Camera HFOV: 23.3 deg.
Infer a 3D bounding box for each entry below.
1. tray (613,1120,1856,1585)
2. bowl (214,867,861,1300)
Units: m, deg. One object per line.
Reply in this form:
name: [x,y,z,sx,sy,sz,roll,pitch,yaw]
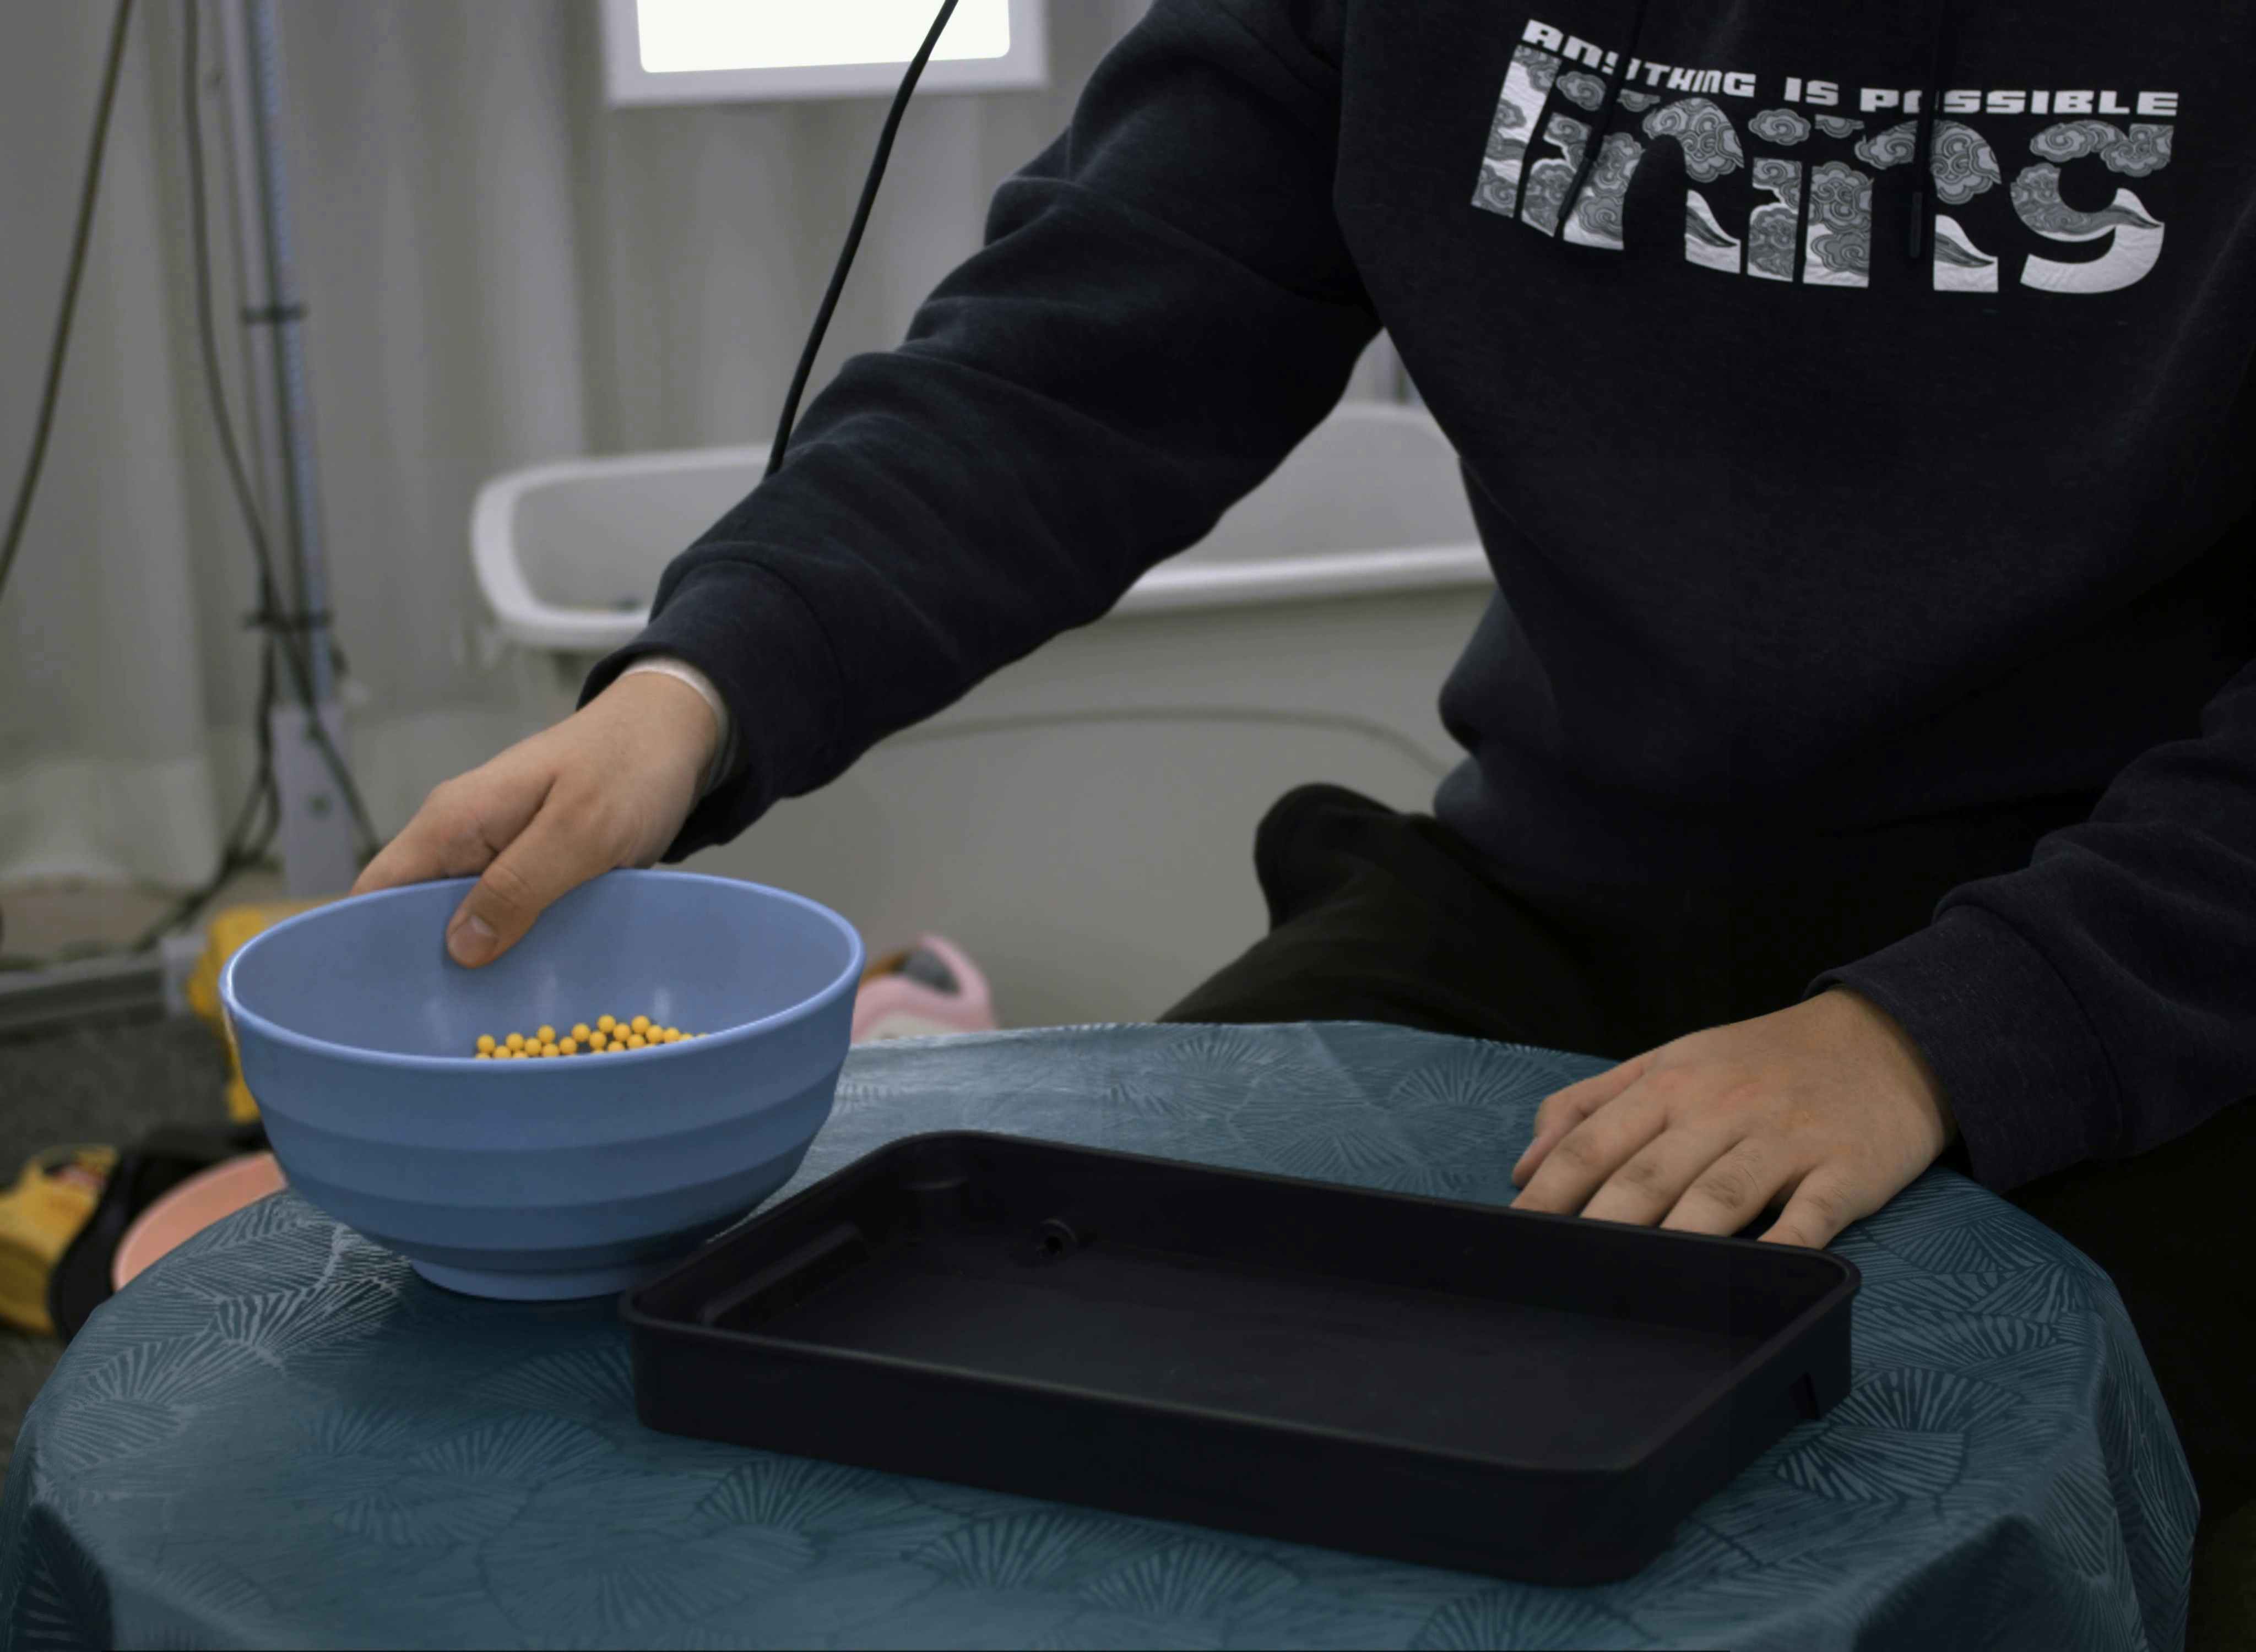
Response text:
tray: [0.029,0.143,1.533,0.319,0.037,0.184,6,17,29]
bowl: [-0.176,0.084,1.671,0.196,0.095,0.198,-3,16,1]
